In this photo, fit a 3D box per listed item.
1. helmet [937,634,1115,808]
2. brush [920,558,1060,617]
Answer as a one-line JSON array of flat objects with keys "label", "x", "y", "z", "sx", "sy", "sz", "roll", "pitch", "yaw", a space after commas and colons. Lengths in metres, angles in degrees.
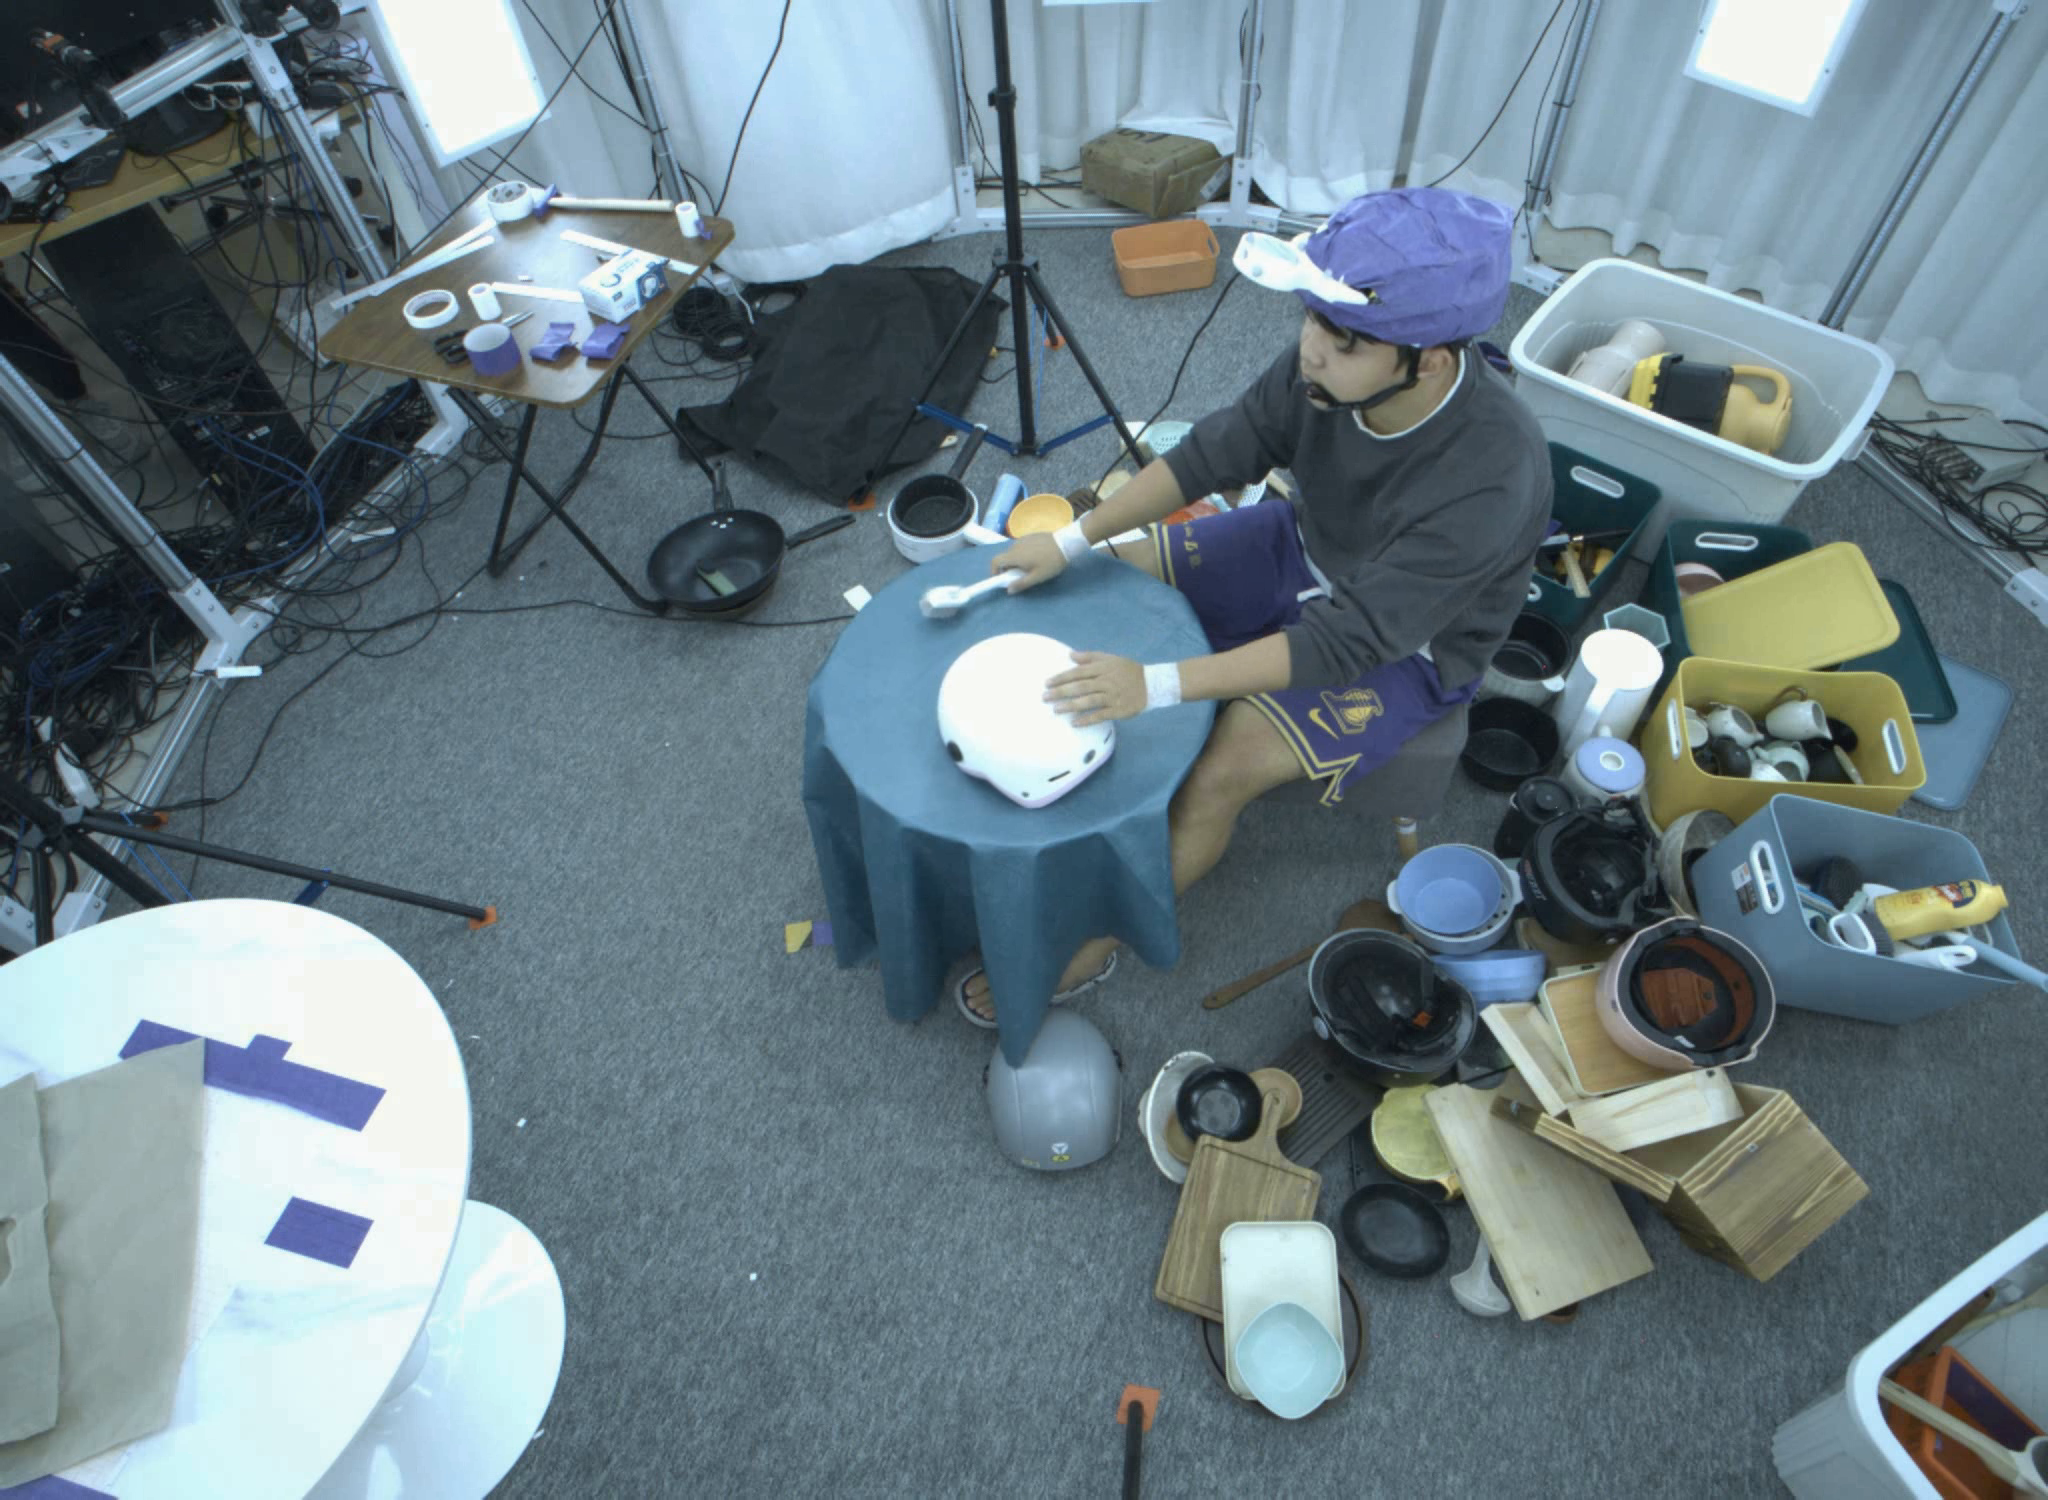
[{"label": "helmet", "x": -0.004, "y": -0.067, "z": 1.737, "sx": 0.239, "sy": 0.169, "sz": 0.264, "roll": -39, "pitch": 61, "yaw": -22}, {"label": "brush", "x": -0.053, "y": -0.259, "z": 1.961, "sx": 0.247, "sy": 0.050, "sz": 0.034, "roll": -19, "pitch": 66, "yaw": -27}]
